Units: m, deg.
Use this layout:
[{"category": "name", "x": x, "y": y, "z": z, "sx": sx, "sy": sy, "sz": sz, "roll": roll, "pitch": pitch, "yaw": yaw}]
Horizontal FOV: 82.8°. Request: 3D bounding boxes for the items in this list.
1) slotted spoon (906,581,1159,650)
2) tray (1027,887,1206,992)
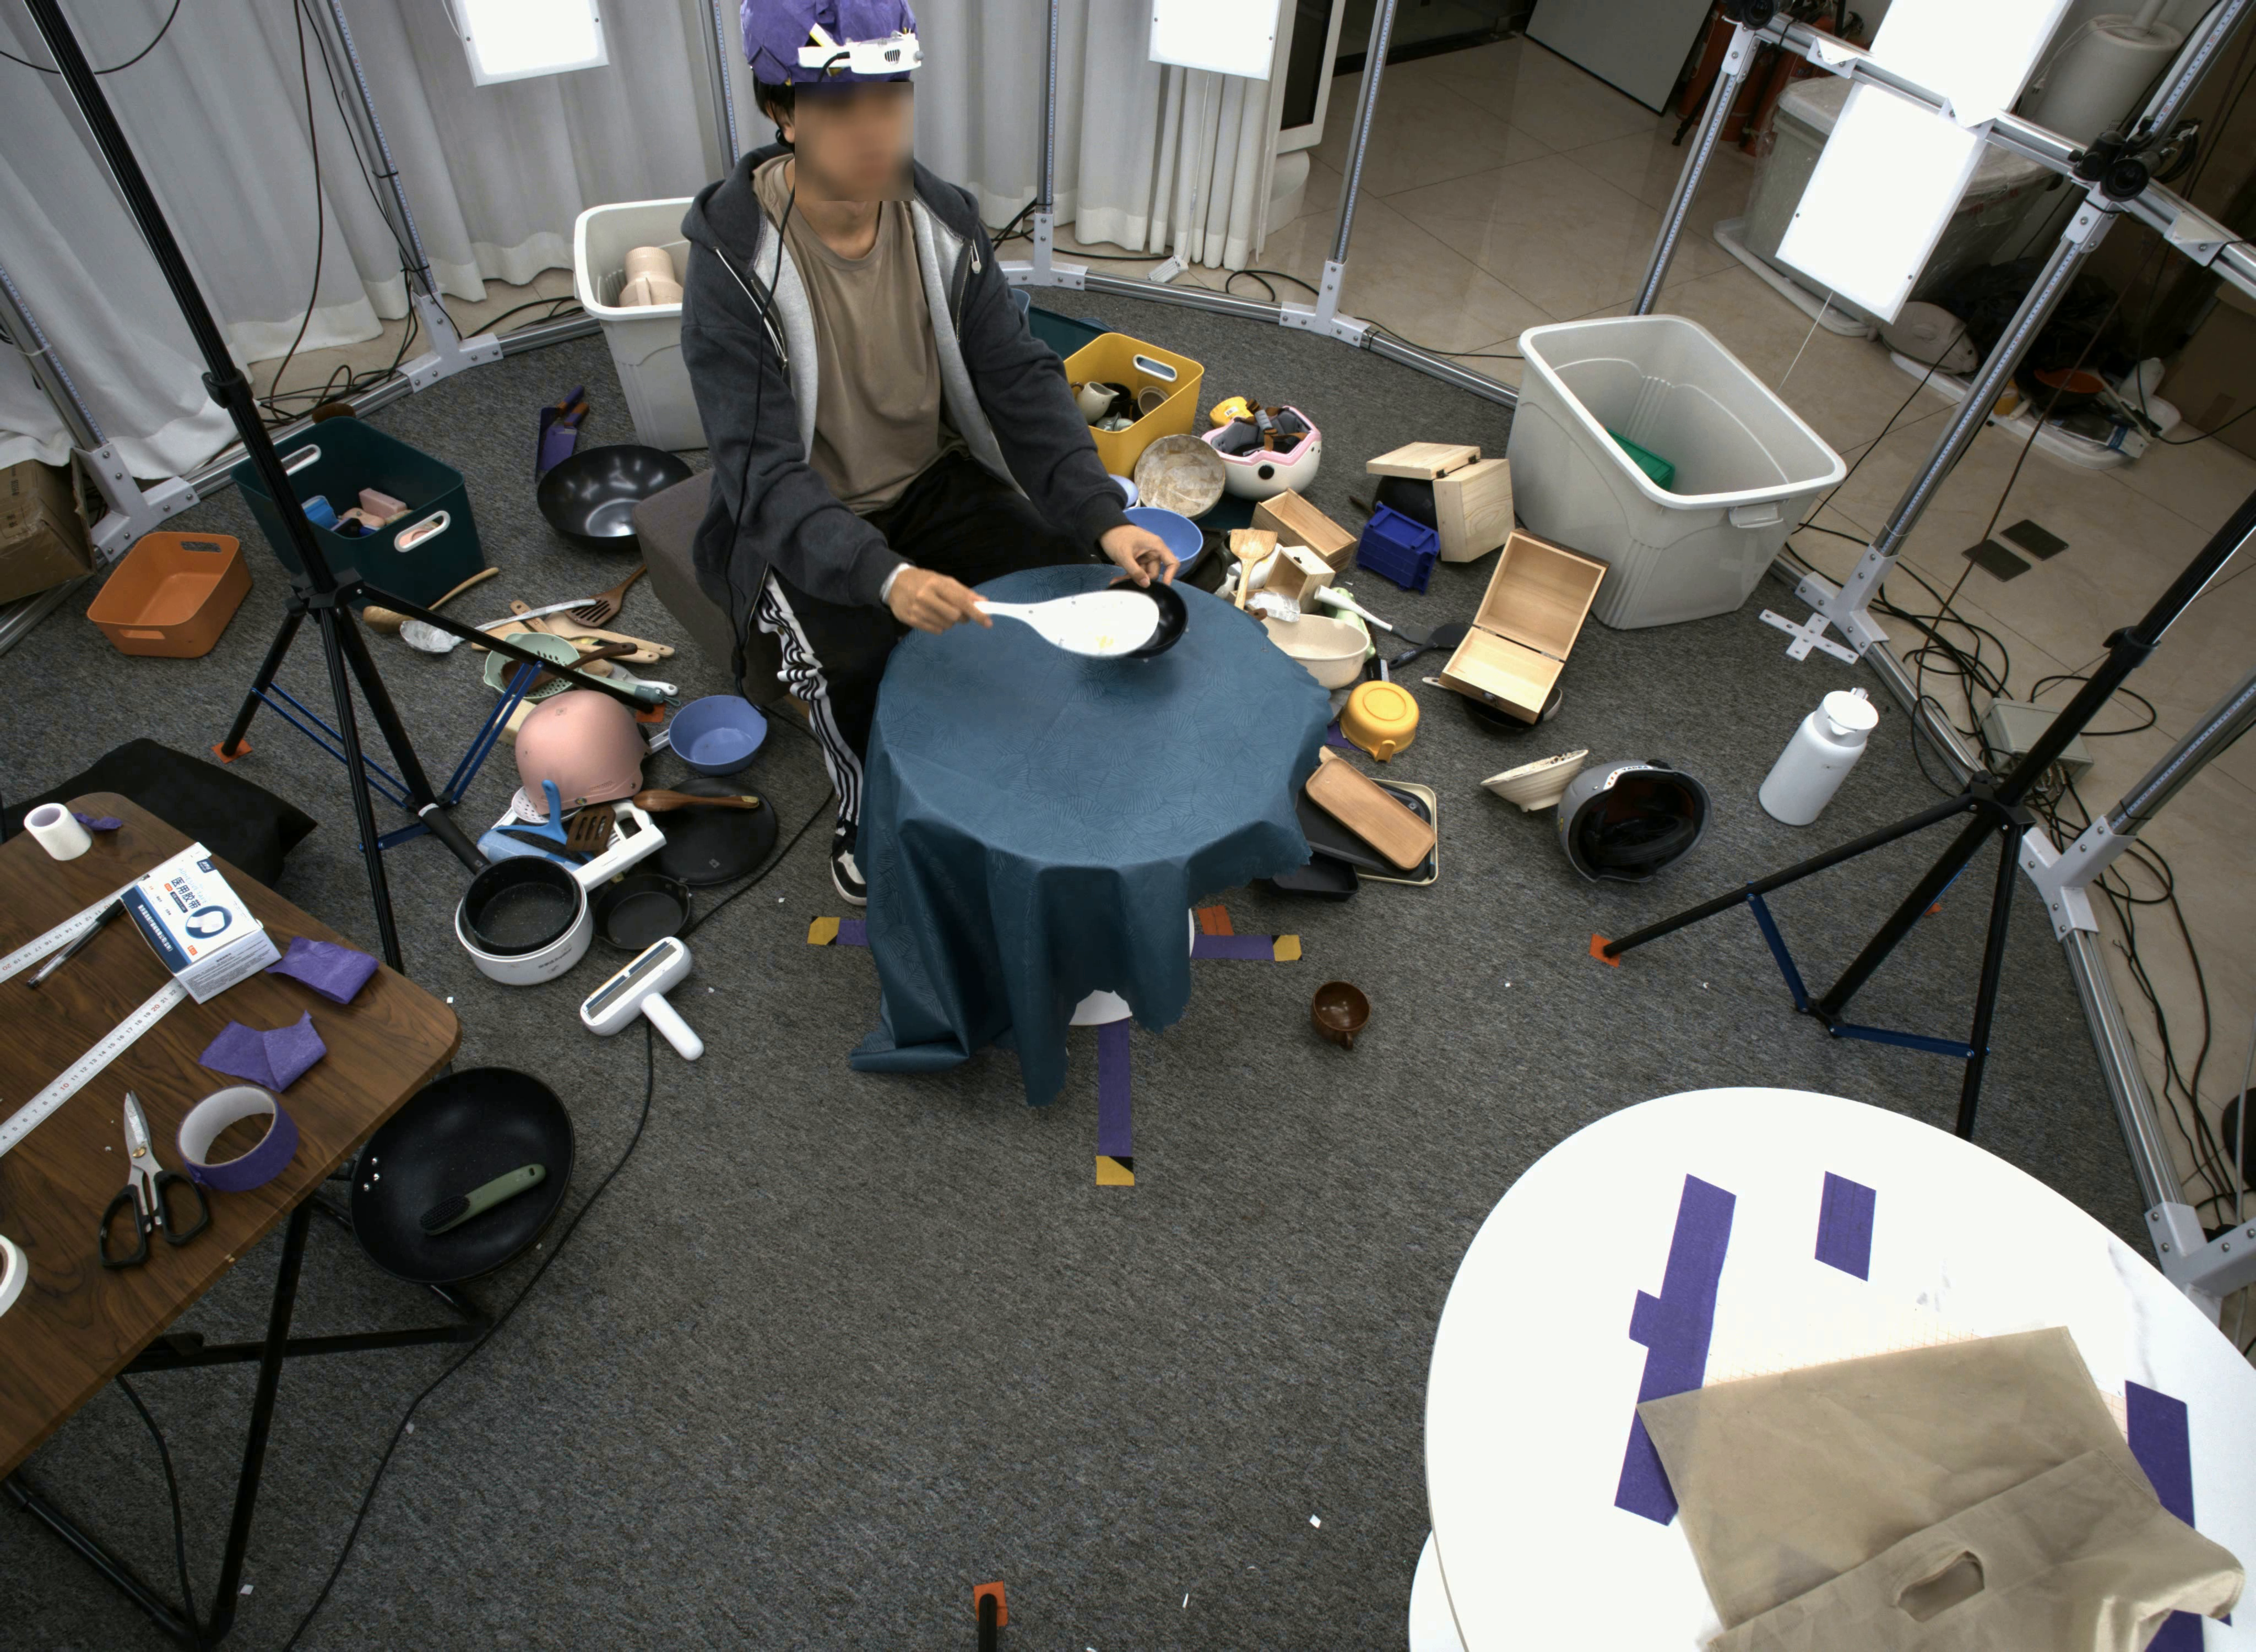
[{"category": "slotted spoon", "x": -0.130, "y": -0.277, "z": 1.695, "sx": 0.349, "sy": 0.049, "sz": 0.140, "roll": 9, "pitch": 47, "yaw": 13}, {"category": "tray", "x": -0.019, "y": 0.194, "z": 2.202, "sx": 0.300, "sy": 0.027, "sz": 0.196, "roll": 3, "pitch": 49, "yaw": -3}]
